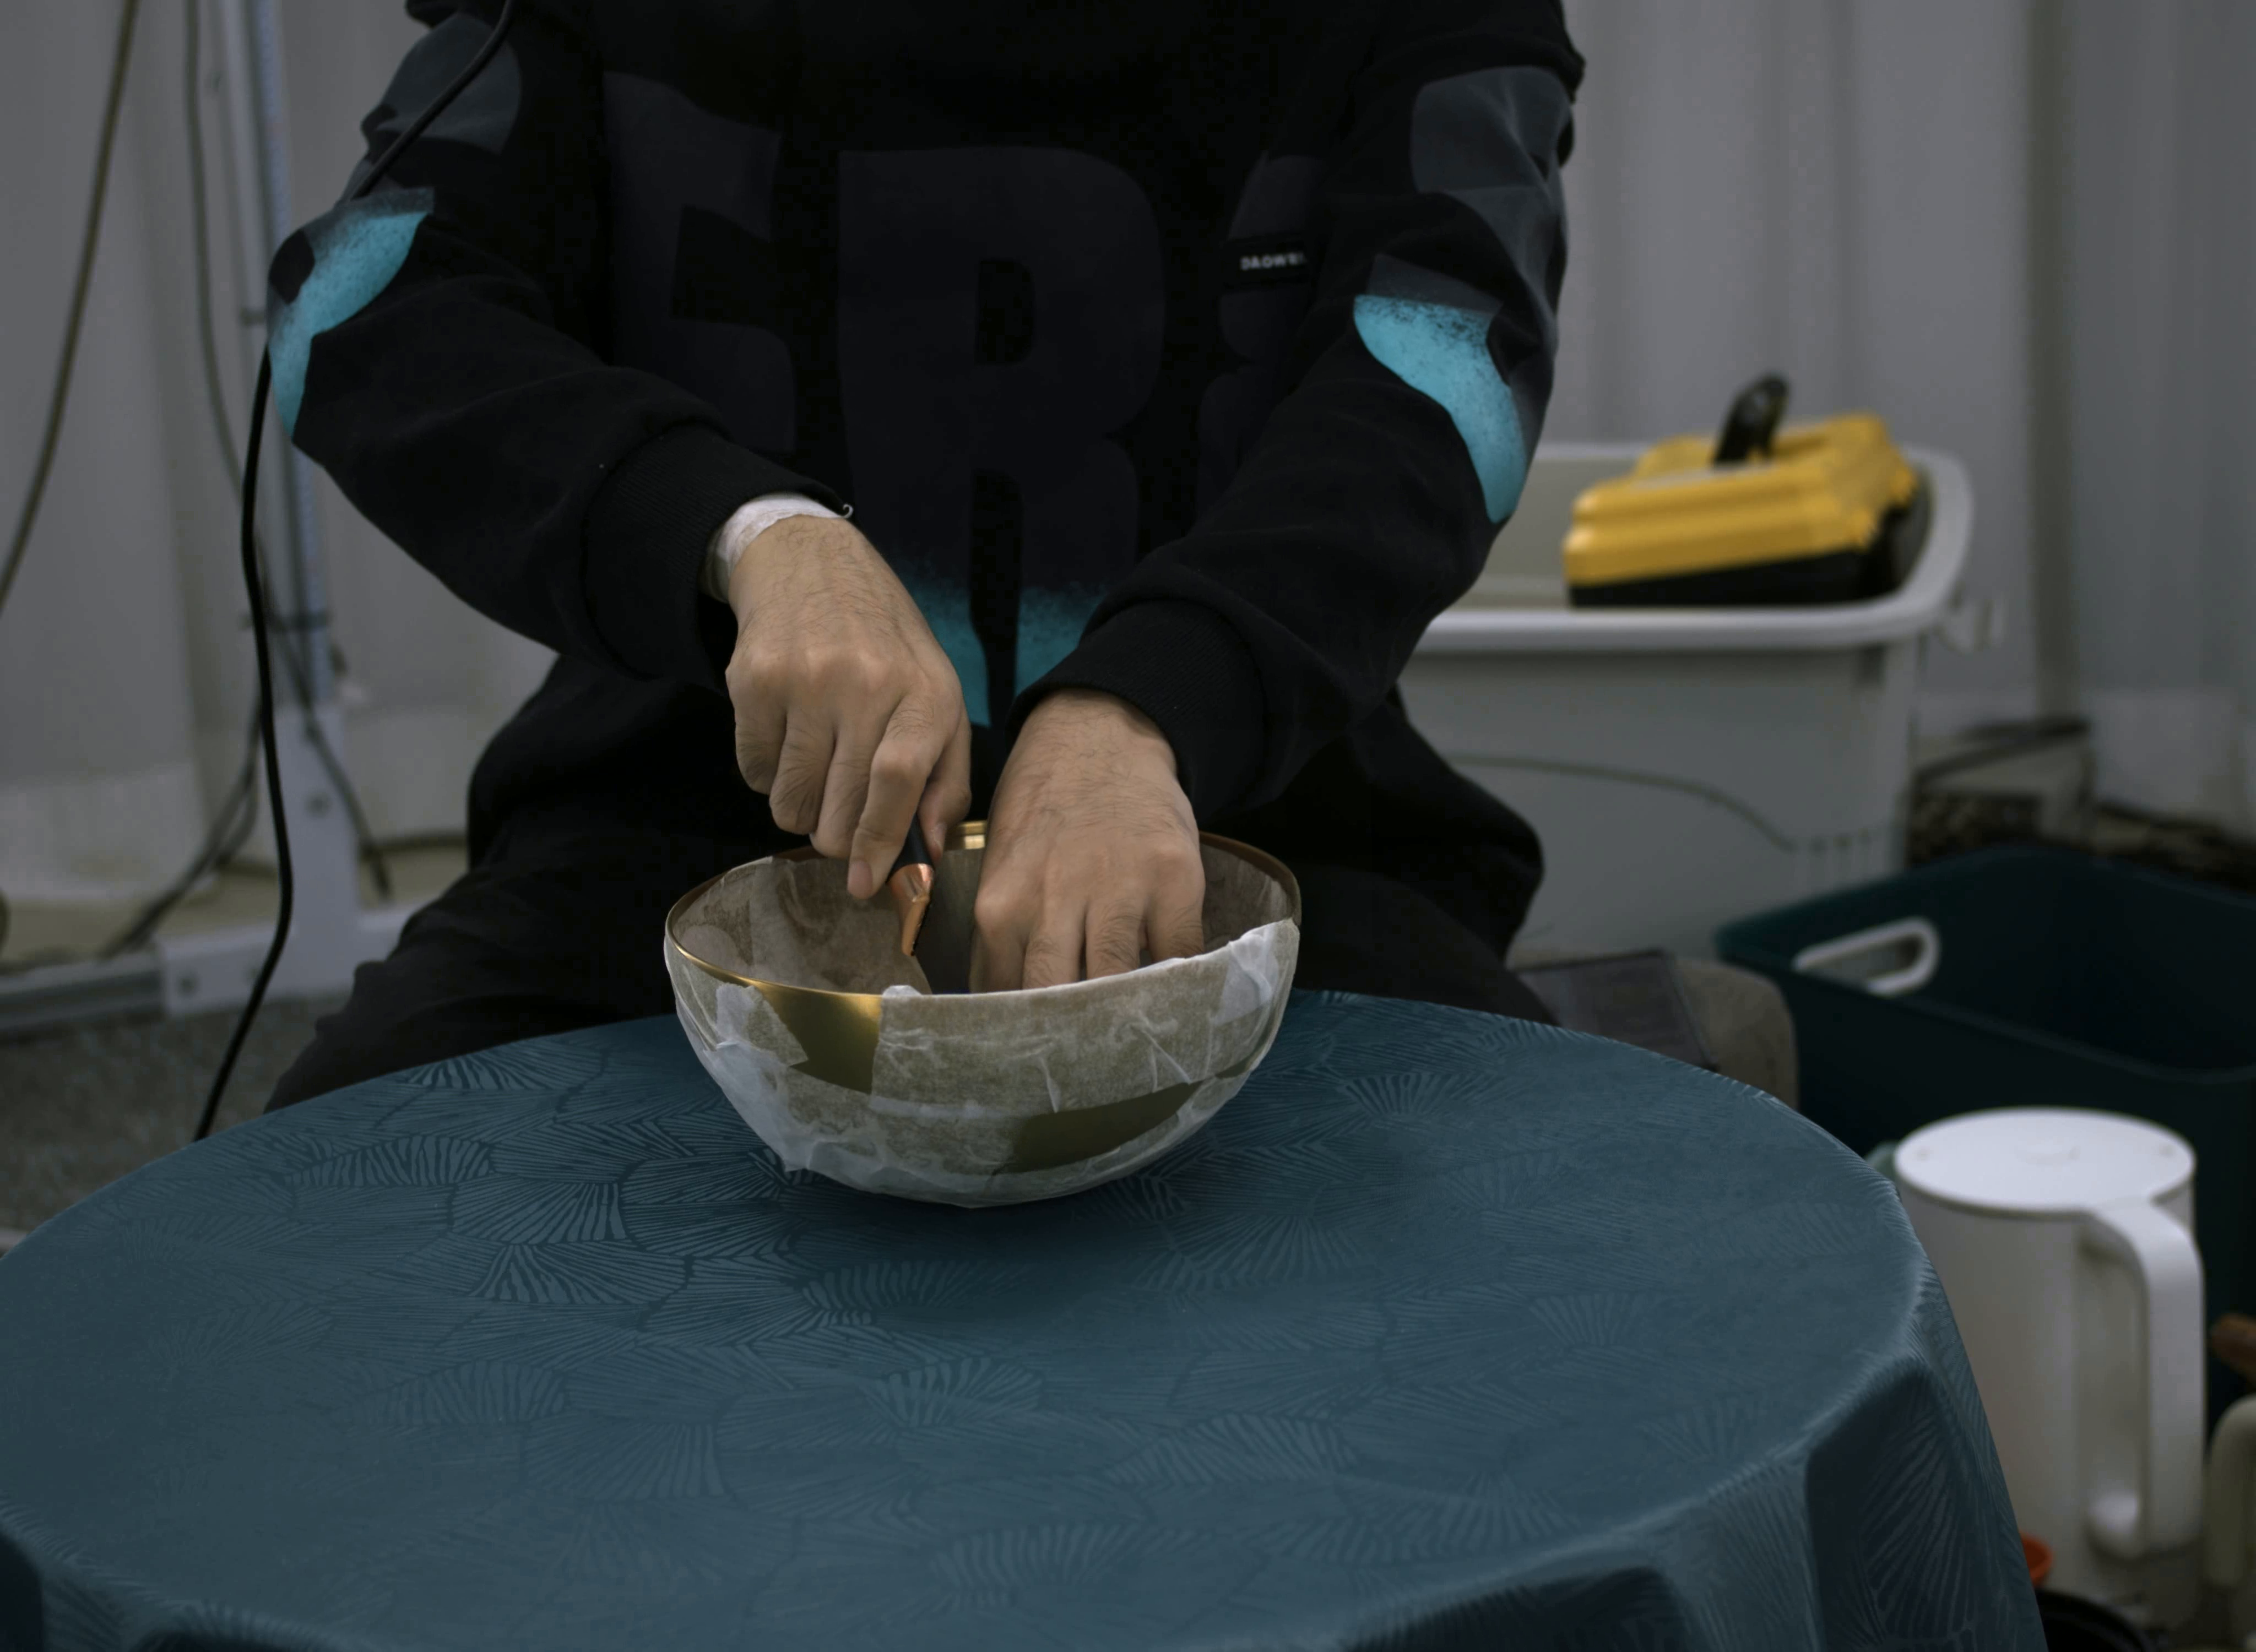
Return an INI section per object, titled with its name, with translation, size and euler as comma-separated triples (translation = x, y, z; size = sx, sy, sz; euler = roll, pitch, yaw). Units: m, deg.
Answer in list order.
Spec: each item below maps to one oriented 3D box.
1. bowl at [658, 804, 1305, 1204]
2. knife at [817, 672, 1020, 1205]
[bowl]
translation = -0.043, 0.063, 1.729
size = 0.214, 0.094, 0.216
euler = -4, 16, 1
[knife]
translation = -0.065, 0.032, 1.735
size = 0.017, 0.026, 0.229
euler = 1, 42, -24
